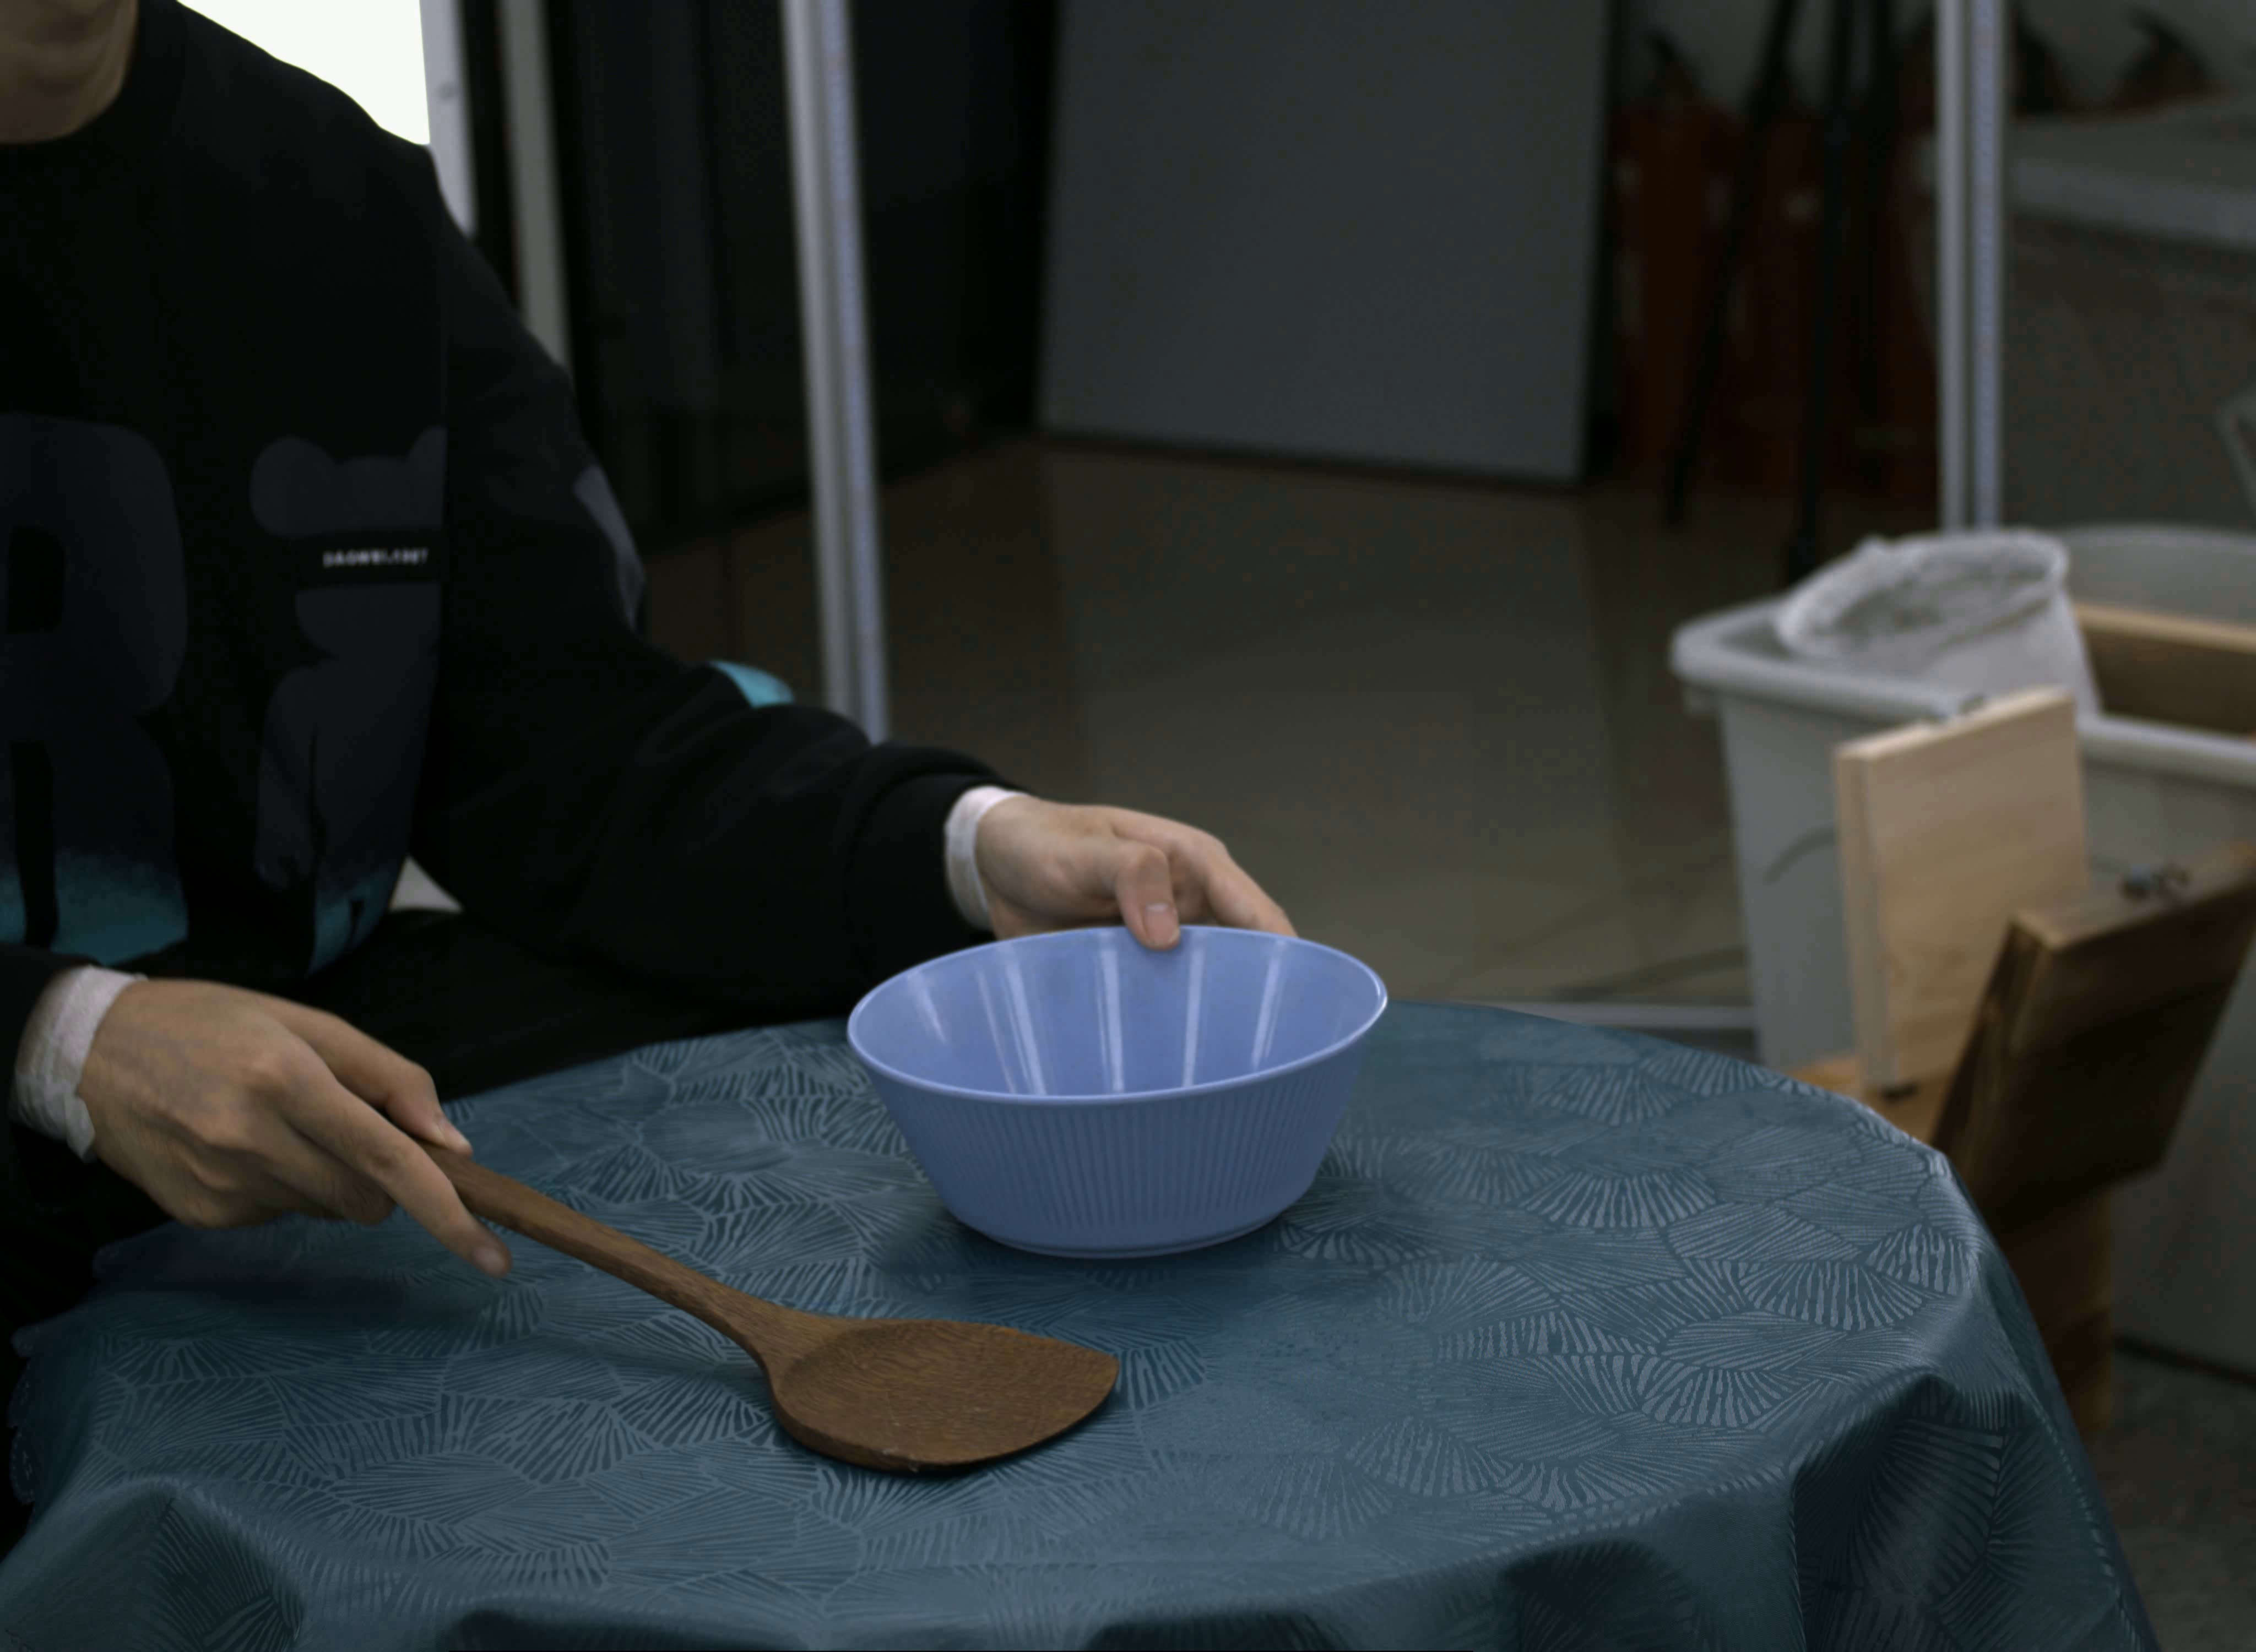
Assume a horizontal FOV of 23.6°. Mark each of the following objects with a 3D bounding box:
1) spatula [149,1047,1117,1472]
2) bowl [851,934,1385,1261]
[{"bbox_3d":[-0.169,0.126,1.663,0.389,0.016,0.094,20,26,36],"label":"spatula"},{"bbox_3d":[-0.001,0.090,1.744,0.174,0.071,0.176,-5,14,0],"label":"bowl"}]
